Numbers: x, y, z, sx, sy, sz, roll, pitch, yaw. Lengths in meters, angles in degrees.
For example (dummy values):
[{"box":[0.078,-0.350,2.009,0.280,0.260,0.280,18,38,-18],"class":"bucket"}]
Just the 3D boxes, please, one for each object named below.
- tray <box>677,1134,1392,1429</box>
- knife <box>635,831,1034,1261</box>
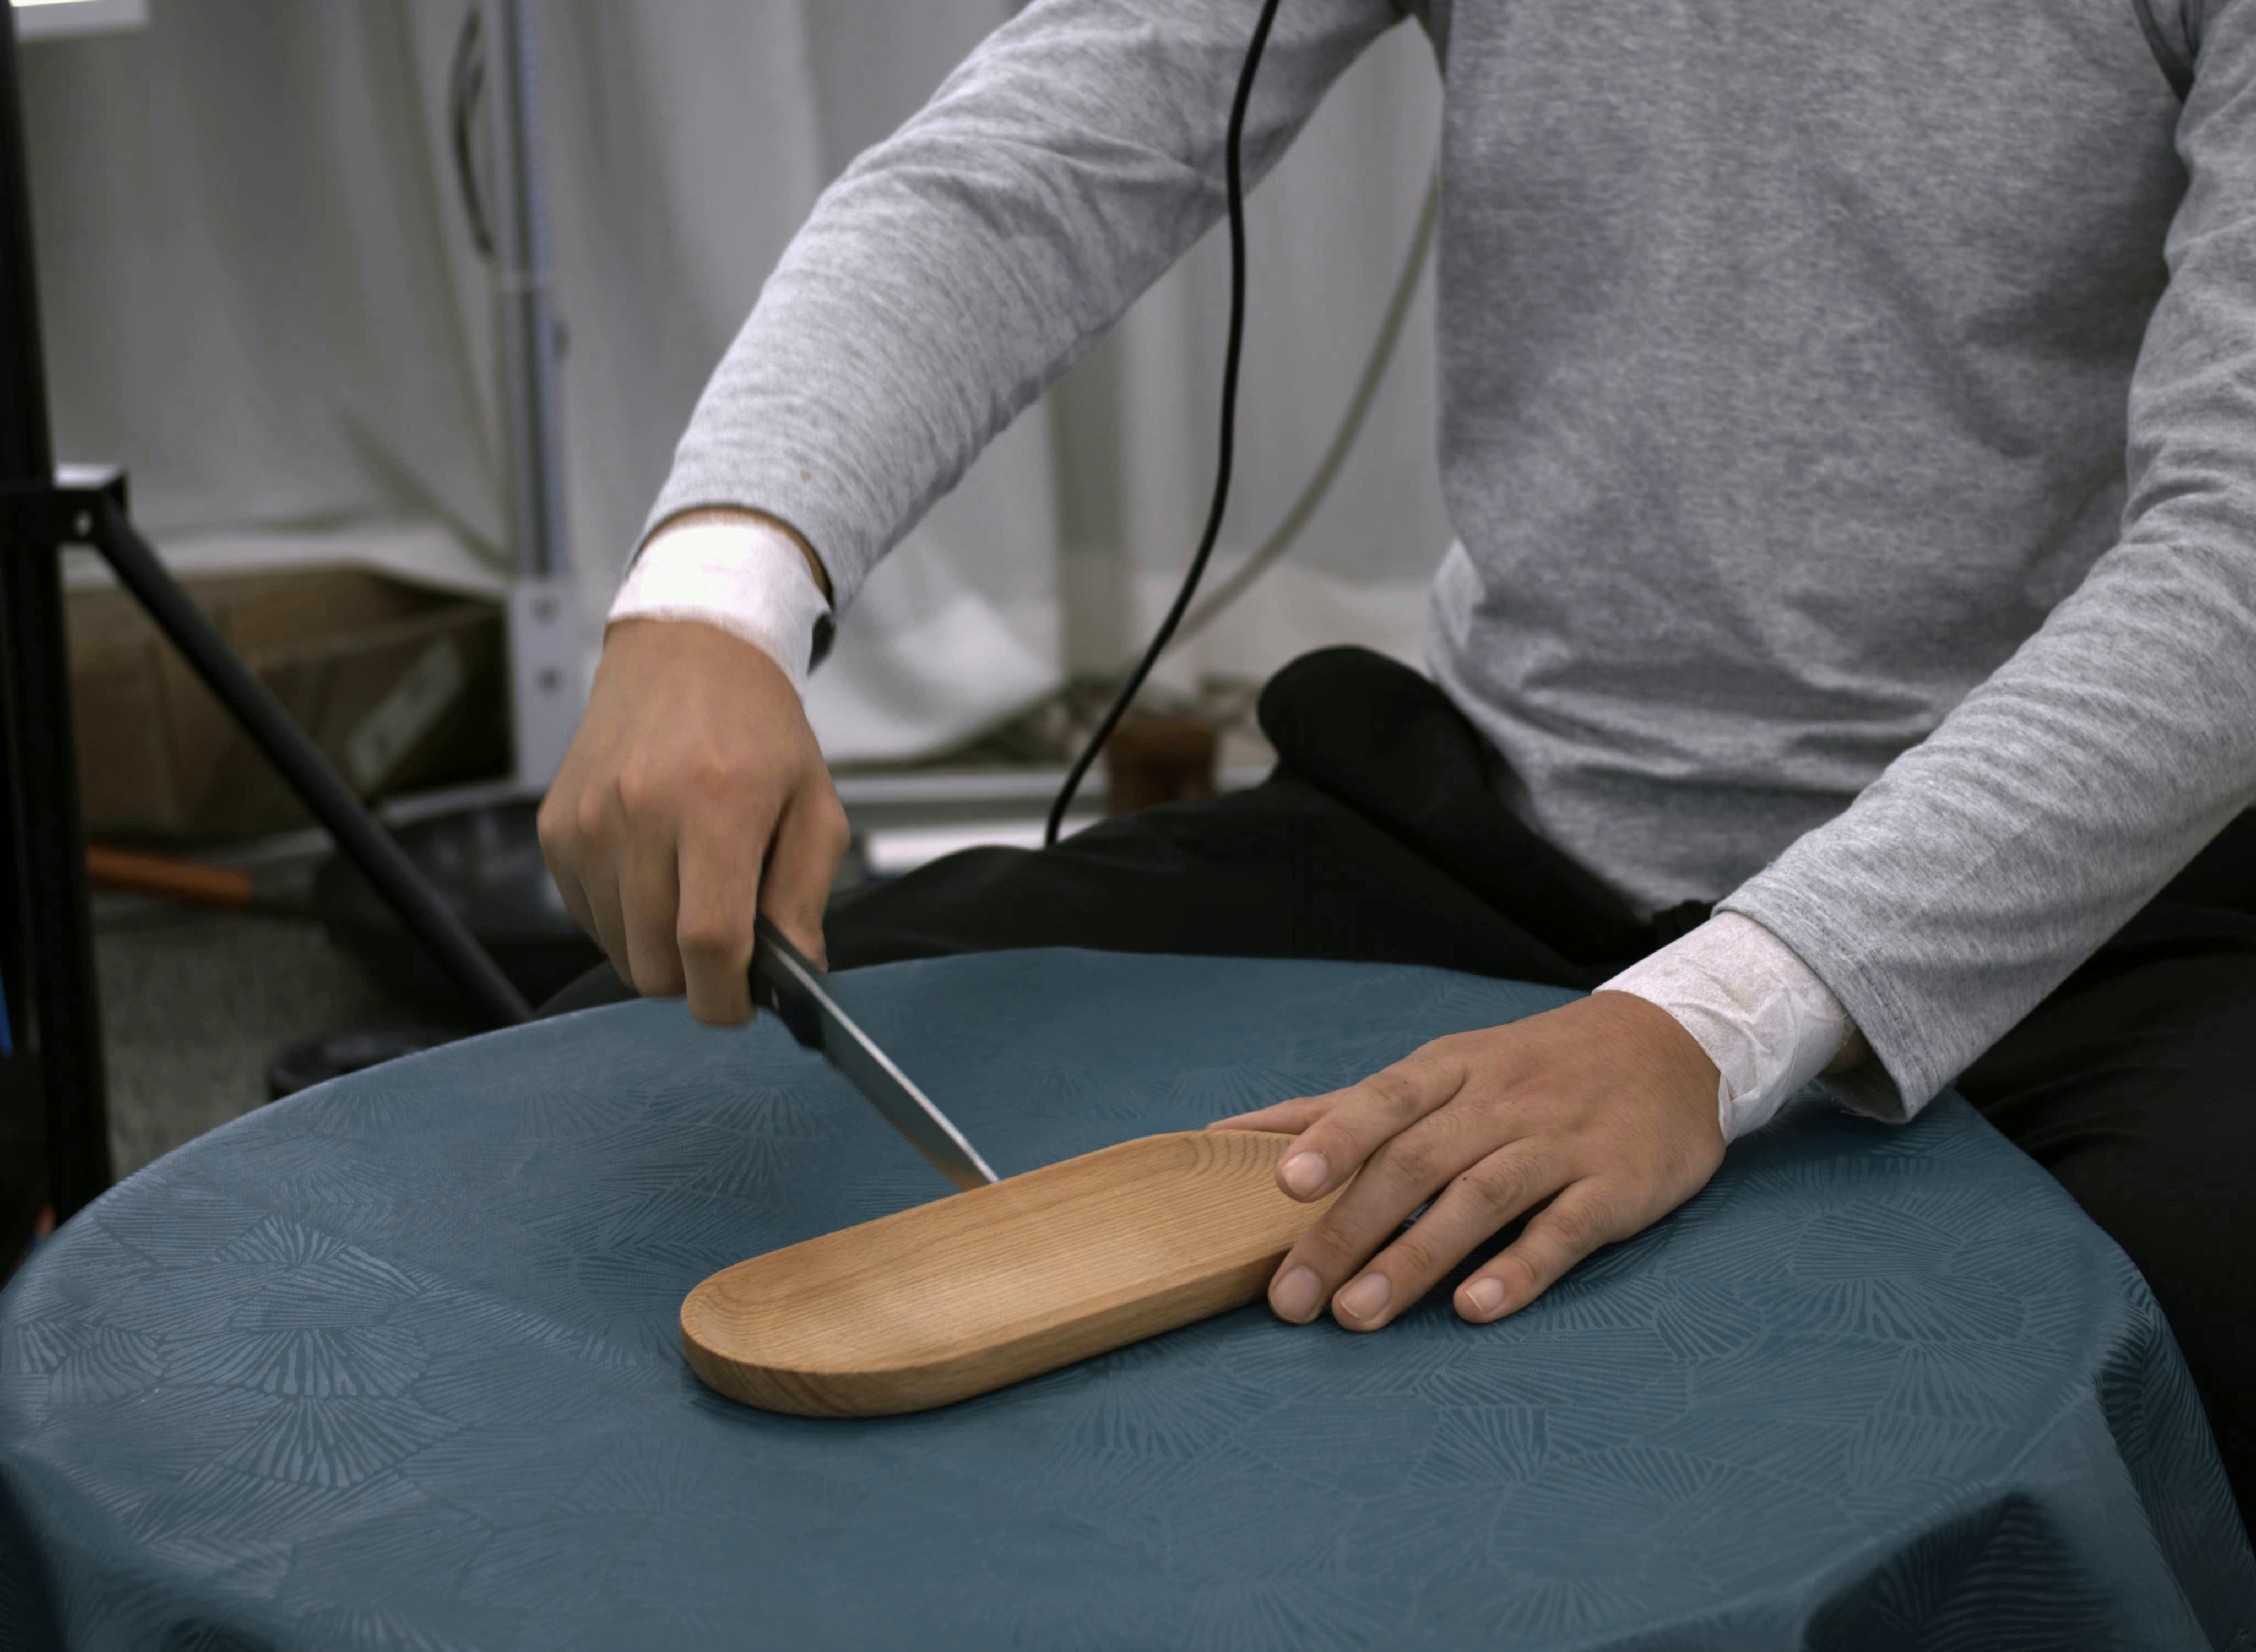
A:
[{"box":[-0.023,0.125,1.477,0.226,0.020,0.104,-17,20,-38],"class":"tray"},{"box":[-0.083,0.059,1.498,0.016,0.024,0.243,-16,34,-24],"class":"knife"}]
